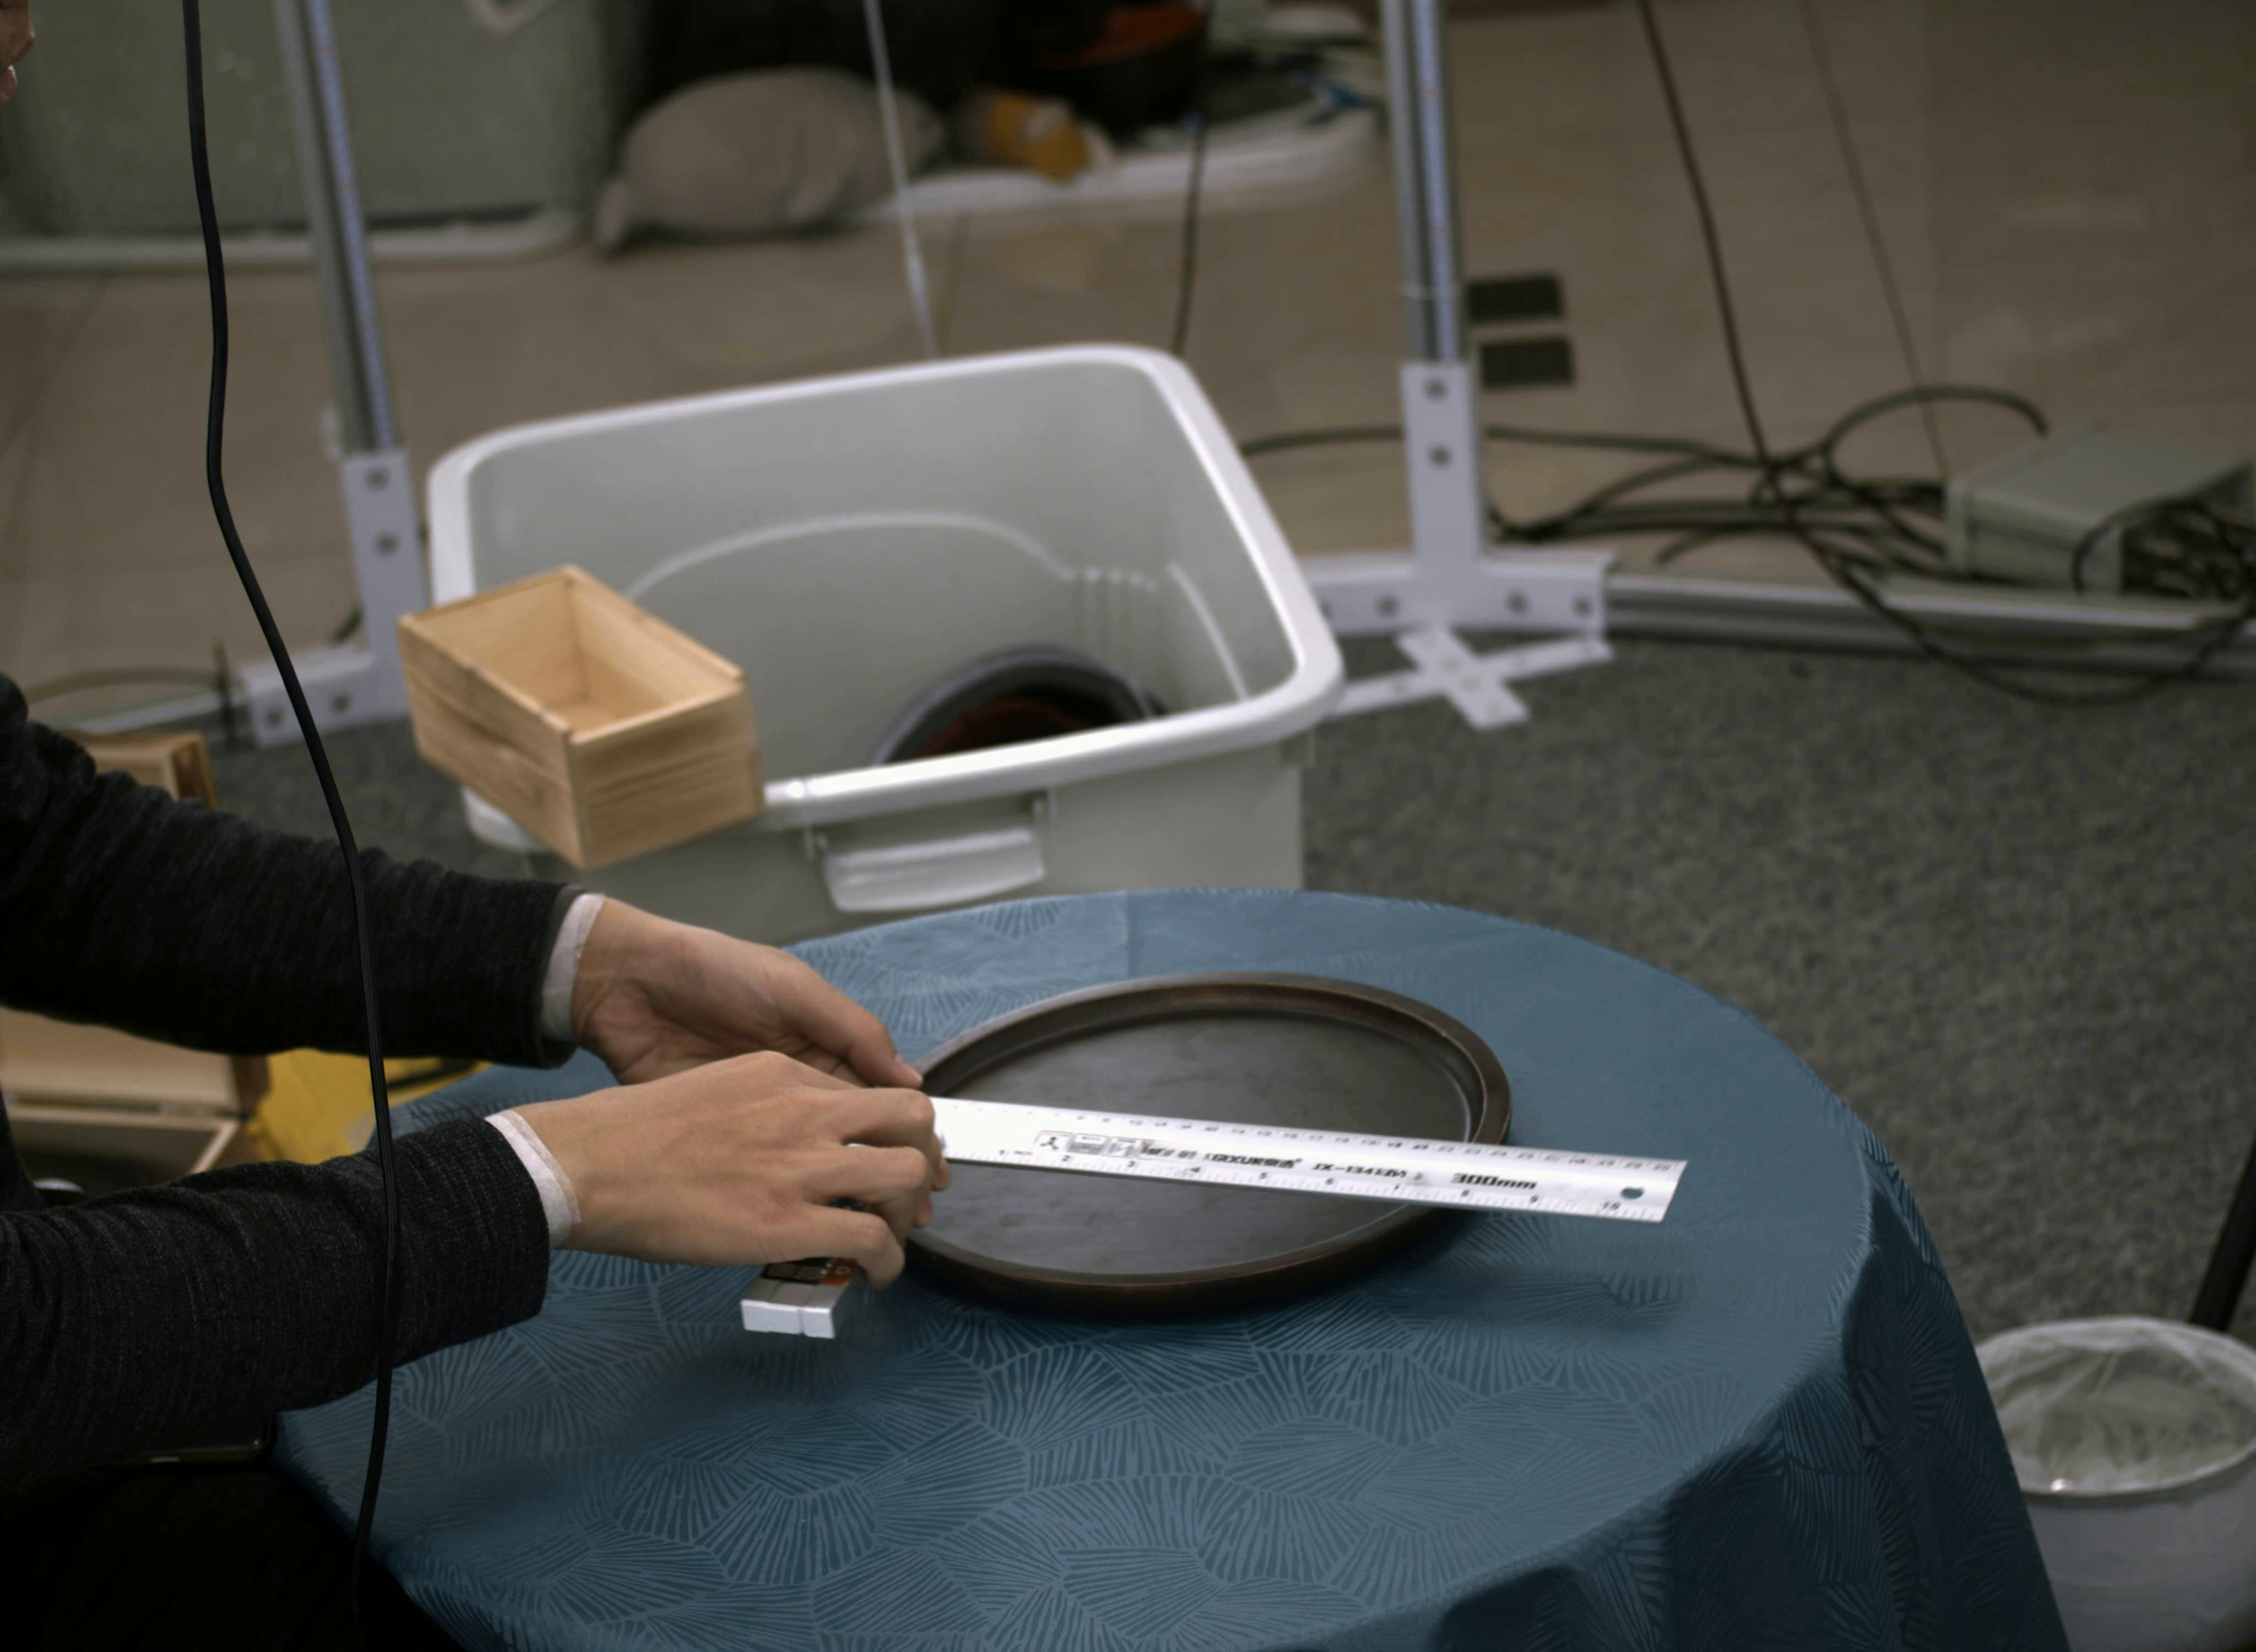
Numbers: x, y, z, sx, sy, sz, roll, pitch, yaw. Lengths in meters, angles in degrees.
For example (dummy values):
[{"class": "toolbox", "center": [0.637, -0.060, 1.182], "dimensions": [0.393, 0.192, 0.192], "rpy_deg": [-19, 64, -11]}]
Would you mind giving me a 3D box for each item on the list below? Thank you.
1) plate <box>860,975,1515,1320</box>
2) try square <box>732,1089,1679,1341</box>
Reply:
[{"class": "plate", "center": [0.021, 0.120, 2.155], "dimensions": [0.254, 0.029, 0.251], "rpy_deg": [-4, 24, 2]}, {"class": "try square", "center": [0.027, 0.149, 2.032], "dimensions": [0.312, 0.016, 0.150], "rpy_deg": [4, 32, 19]}]
